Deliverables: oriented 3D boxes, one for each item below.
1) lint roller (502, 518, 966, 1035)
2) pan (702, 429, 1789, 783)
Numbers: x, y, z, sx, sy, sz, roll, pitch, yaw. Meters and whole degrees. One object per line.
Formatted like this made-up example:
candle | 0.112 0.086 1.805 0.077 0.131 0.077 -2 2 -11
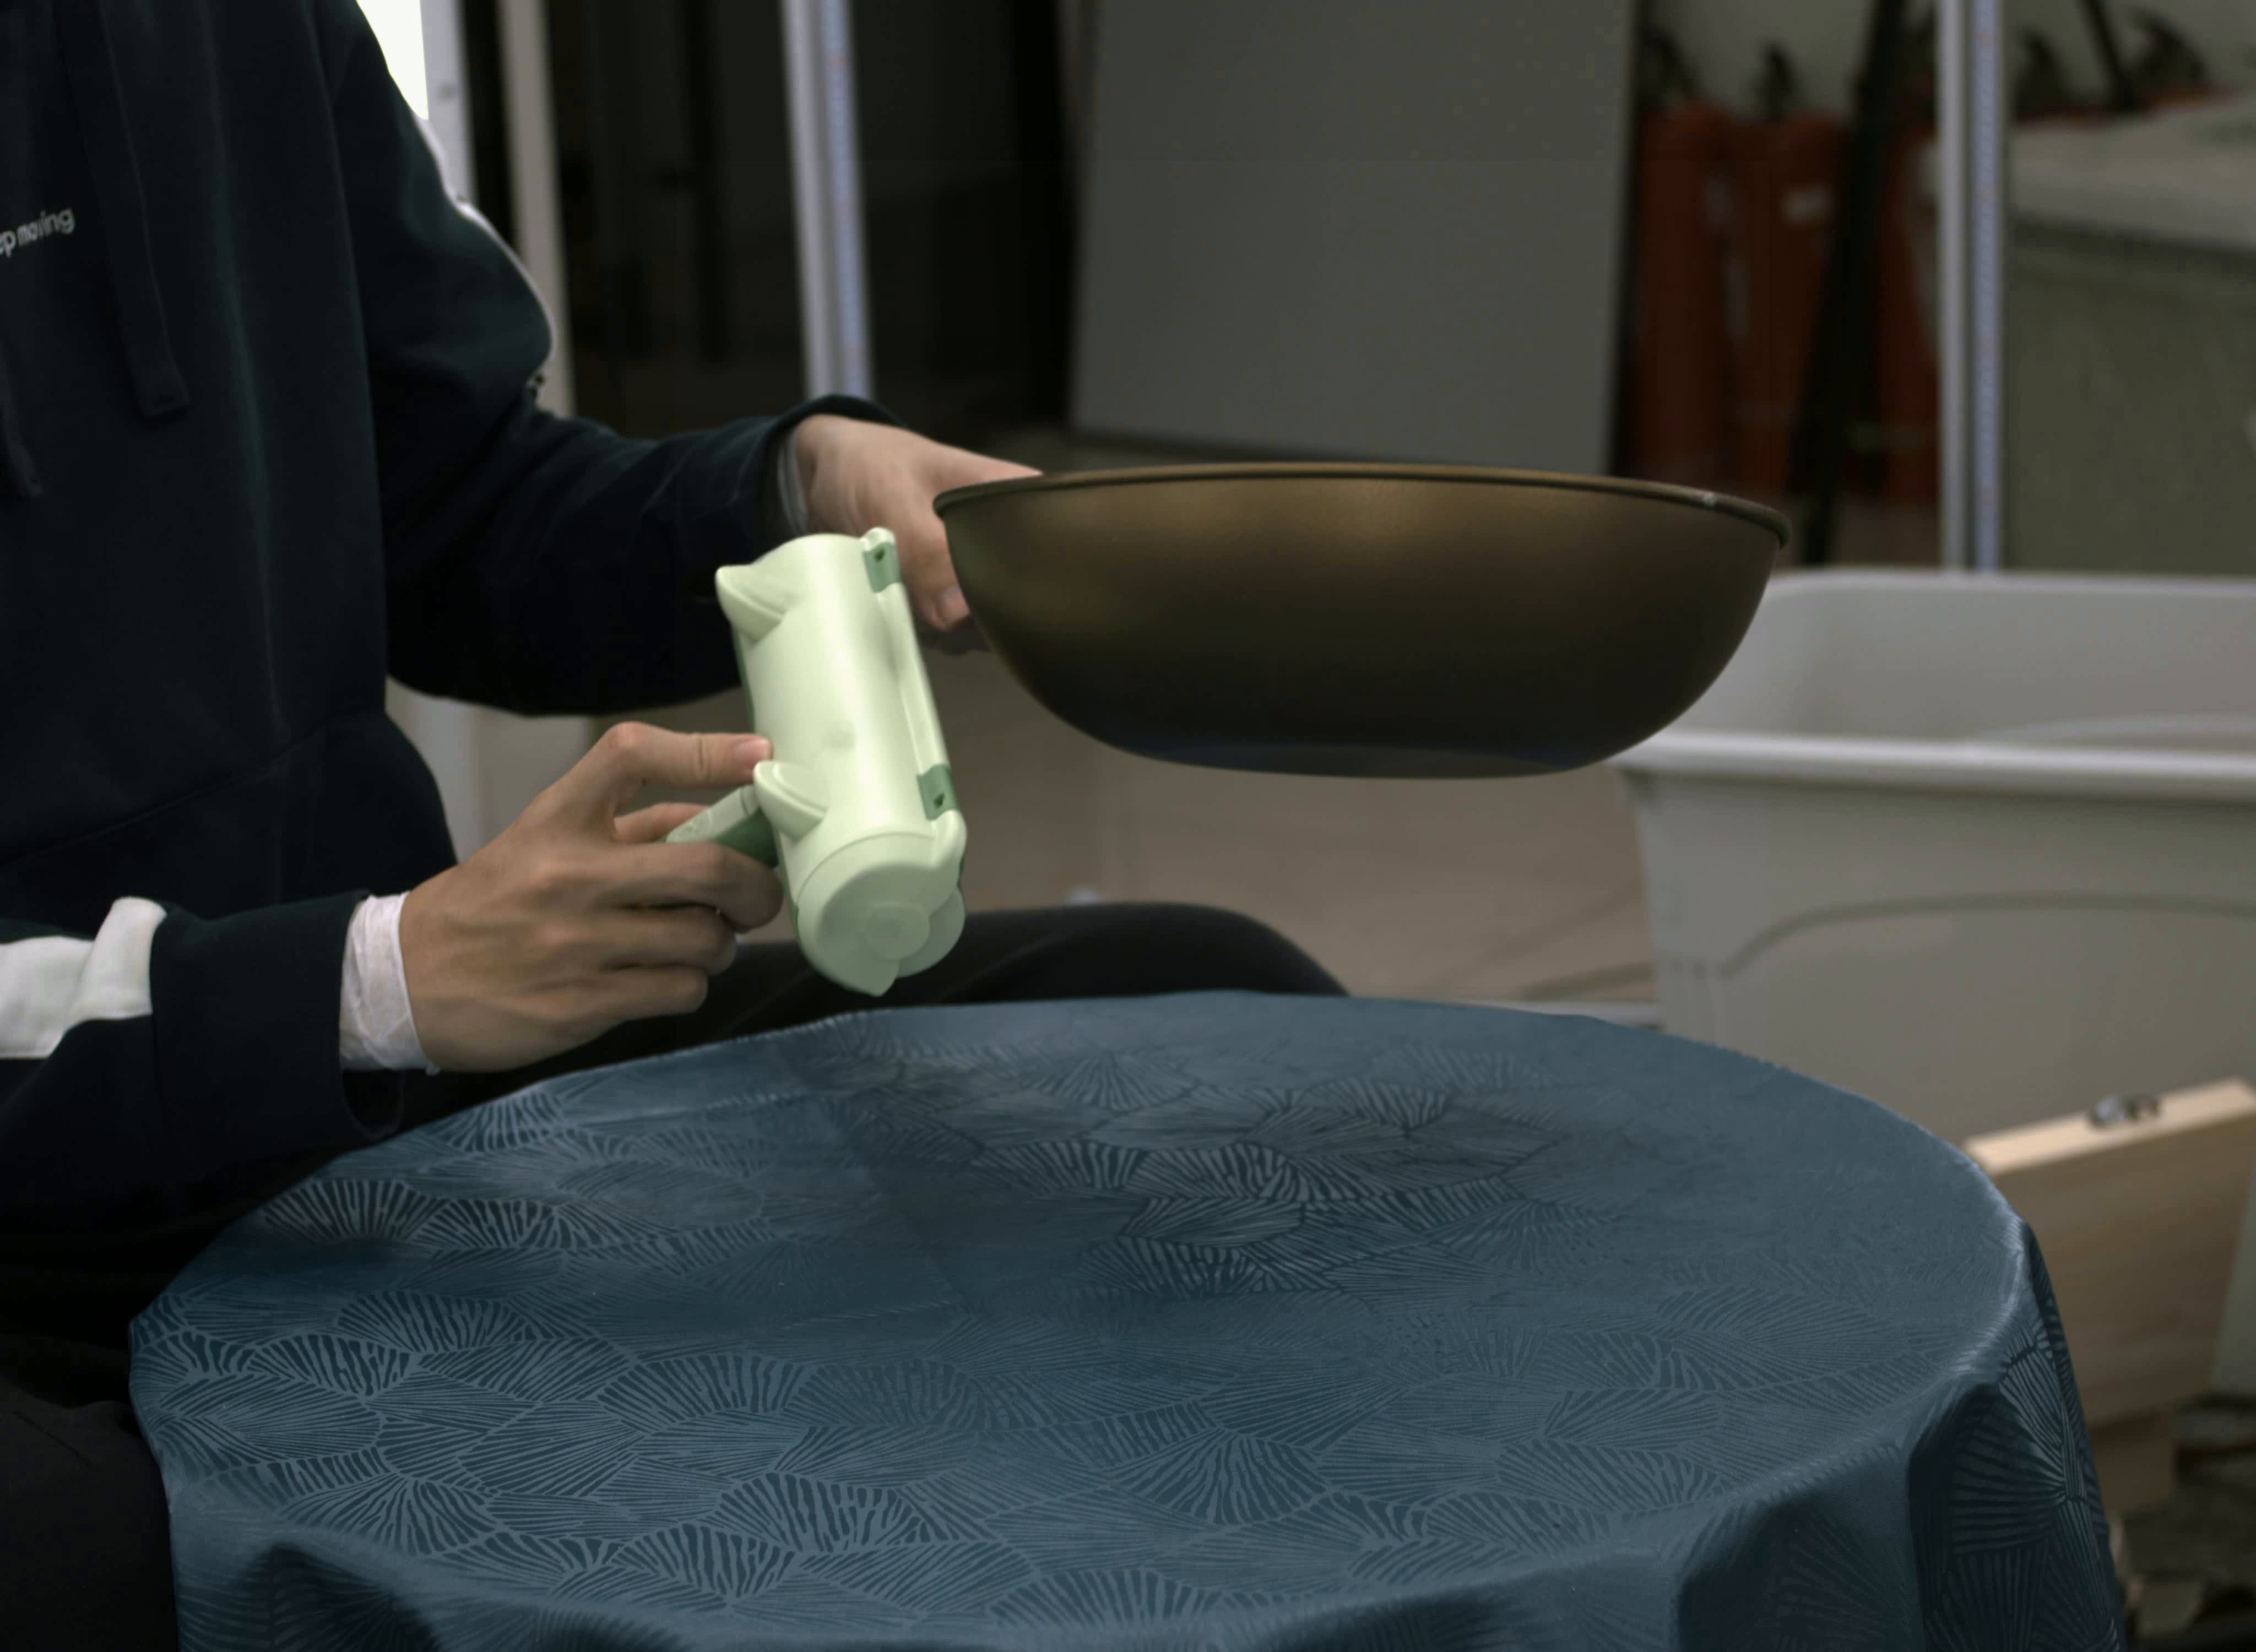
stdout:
lint roller | -0.139 -0.003 1.726 0.183 0.081 0.200 -31 34 10
pan | 0.008 -0.060 1.802 0.282 0.088 0.467 8 -8 -44
